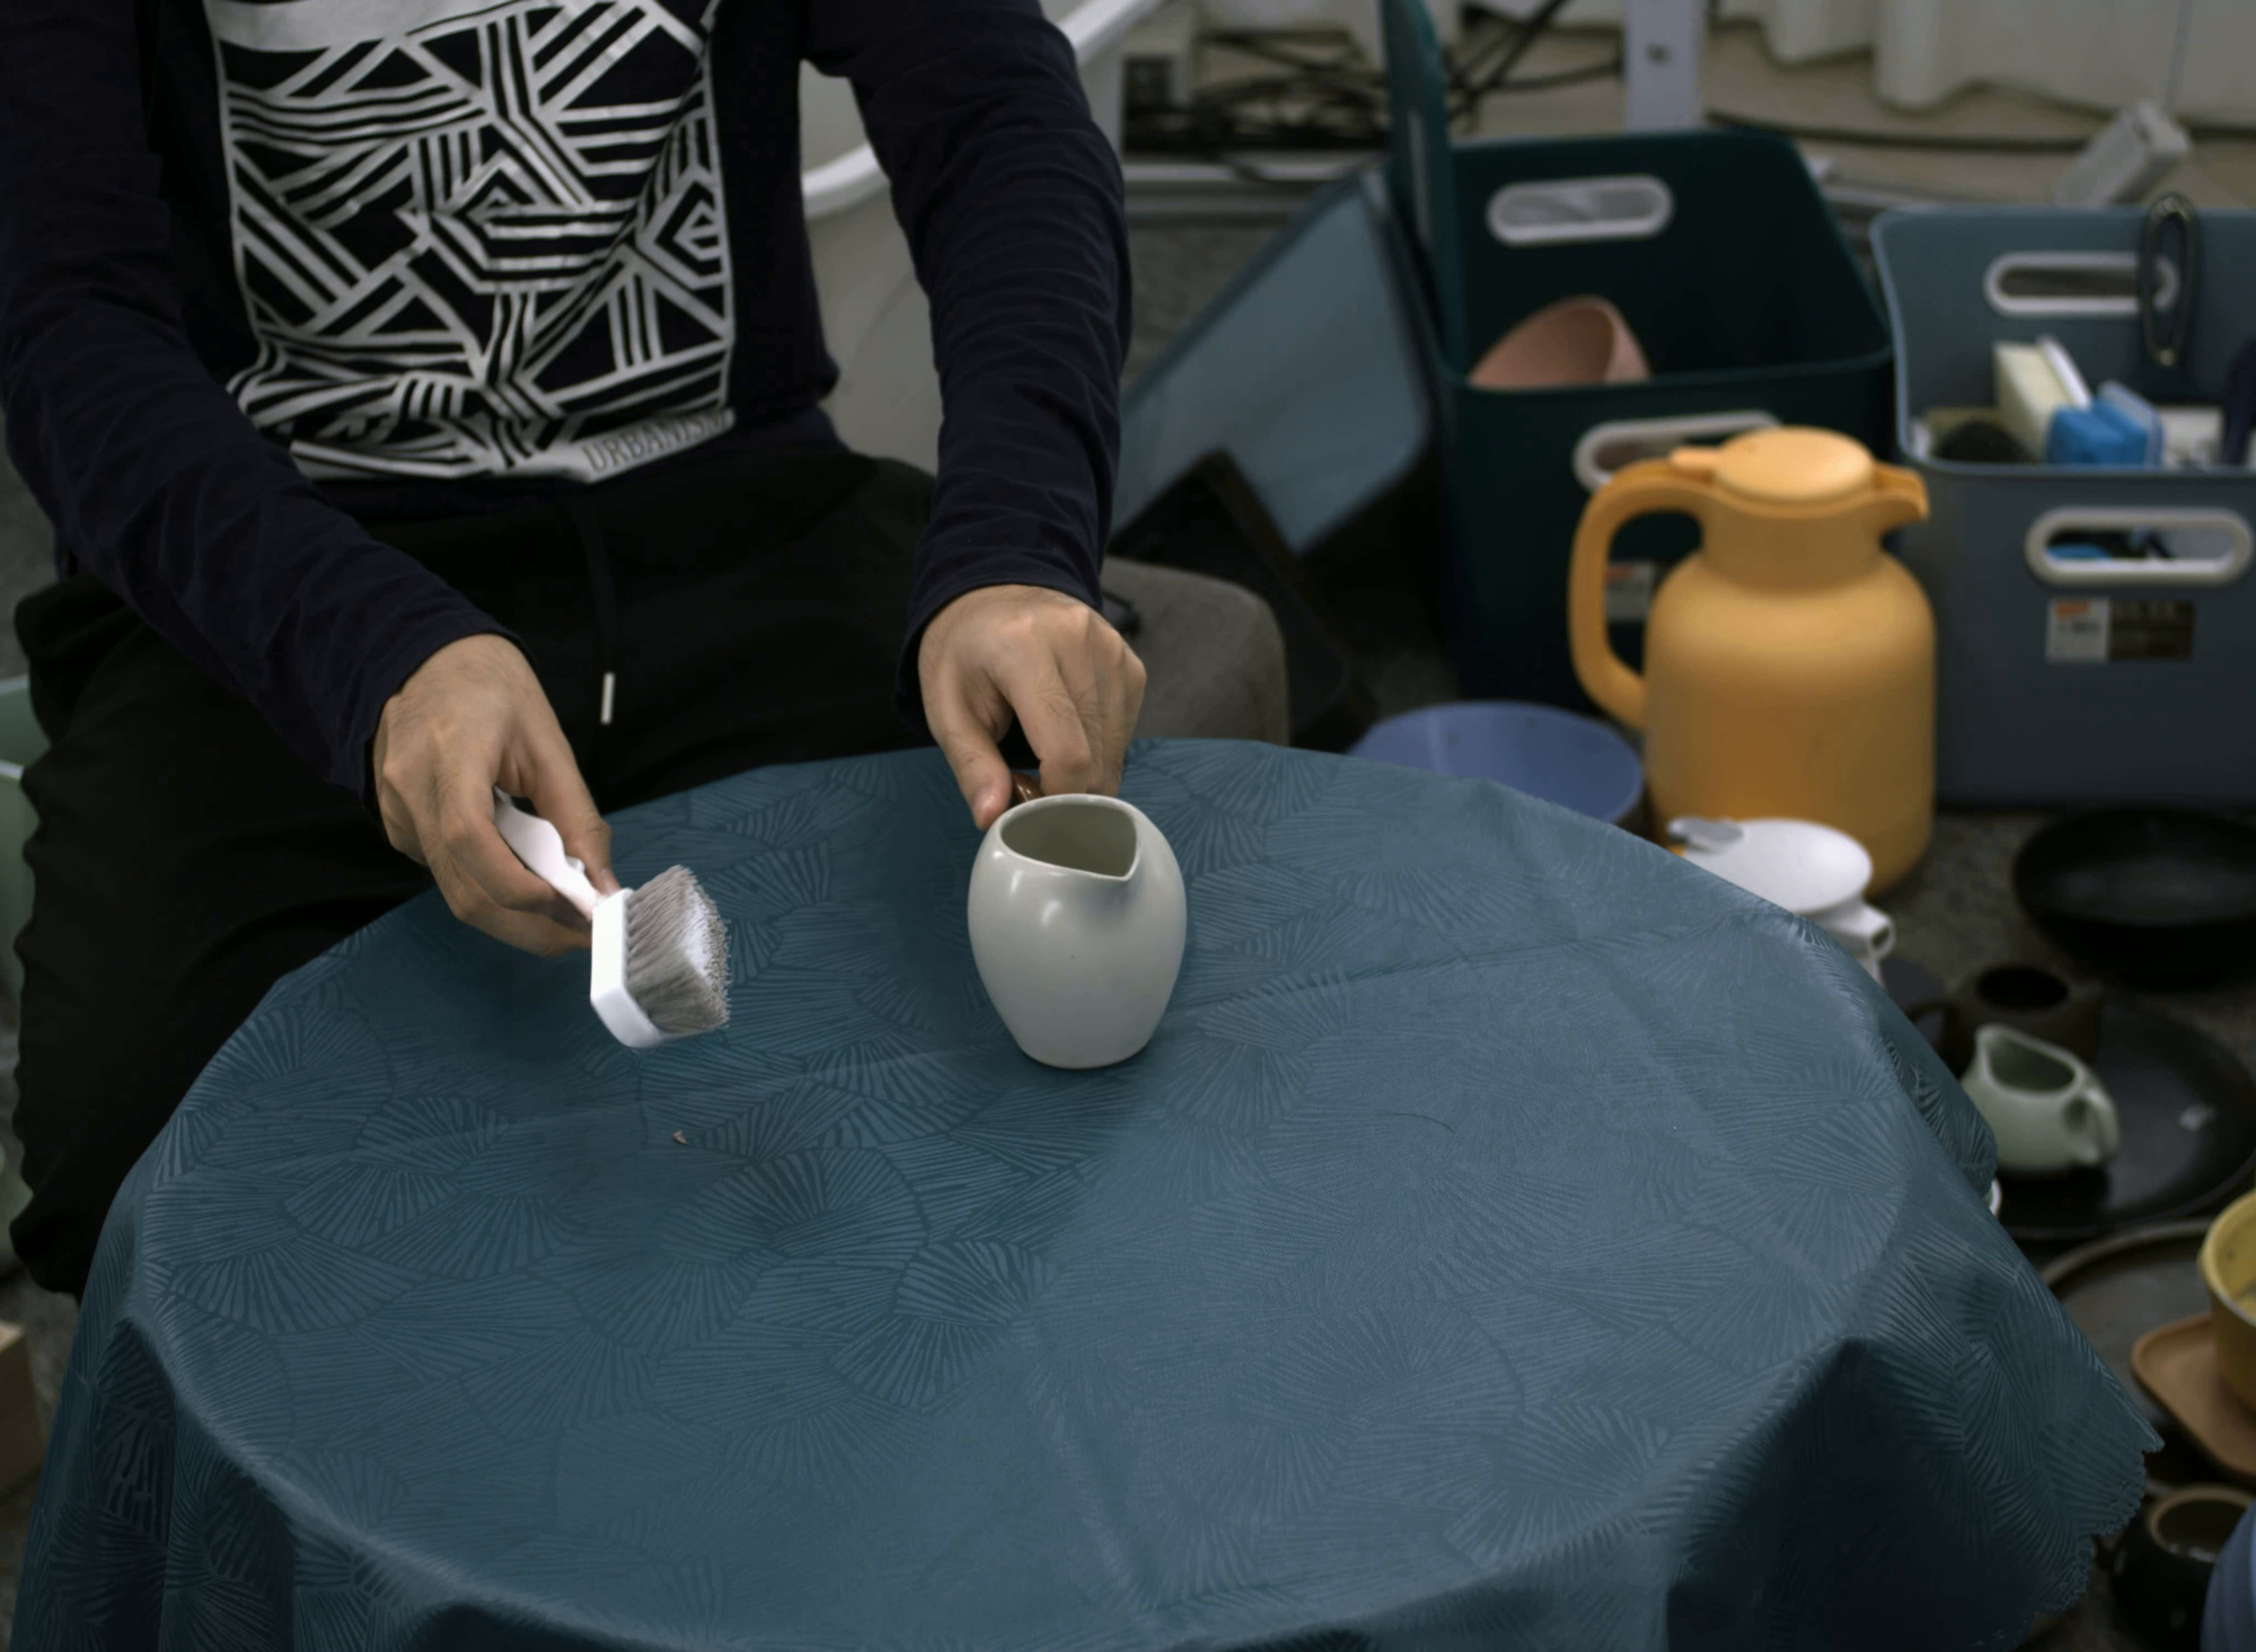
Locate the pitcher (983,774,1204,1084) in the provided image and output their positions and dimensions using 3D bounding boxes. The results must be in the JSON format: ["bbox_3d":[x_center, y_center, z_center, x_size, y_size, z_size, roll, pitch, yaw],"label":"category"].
[{"bbox_3d":[-0.015,0.036,1.930,0.076,0.087,0.120,-7,30,-18],"label":"pitcher"}]

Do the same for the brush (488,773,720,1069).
[{"bbox_3d":[-0.180,0.016,1.932,0.034,0.050,0.245,36,8,-25],"label":"brush"}]
